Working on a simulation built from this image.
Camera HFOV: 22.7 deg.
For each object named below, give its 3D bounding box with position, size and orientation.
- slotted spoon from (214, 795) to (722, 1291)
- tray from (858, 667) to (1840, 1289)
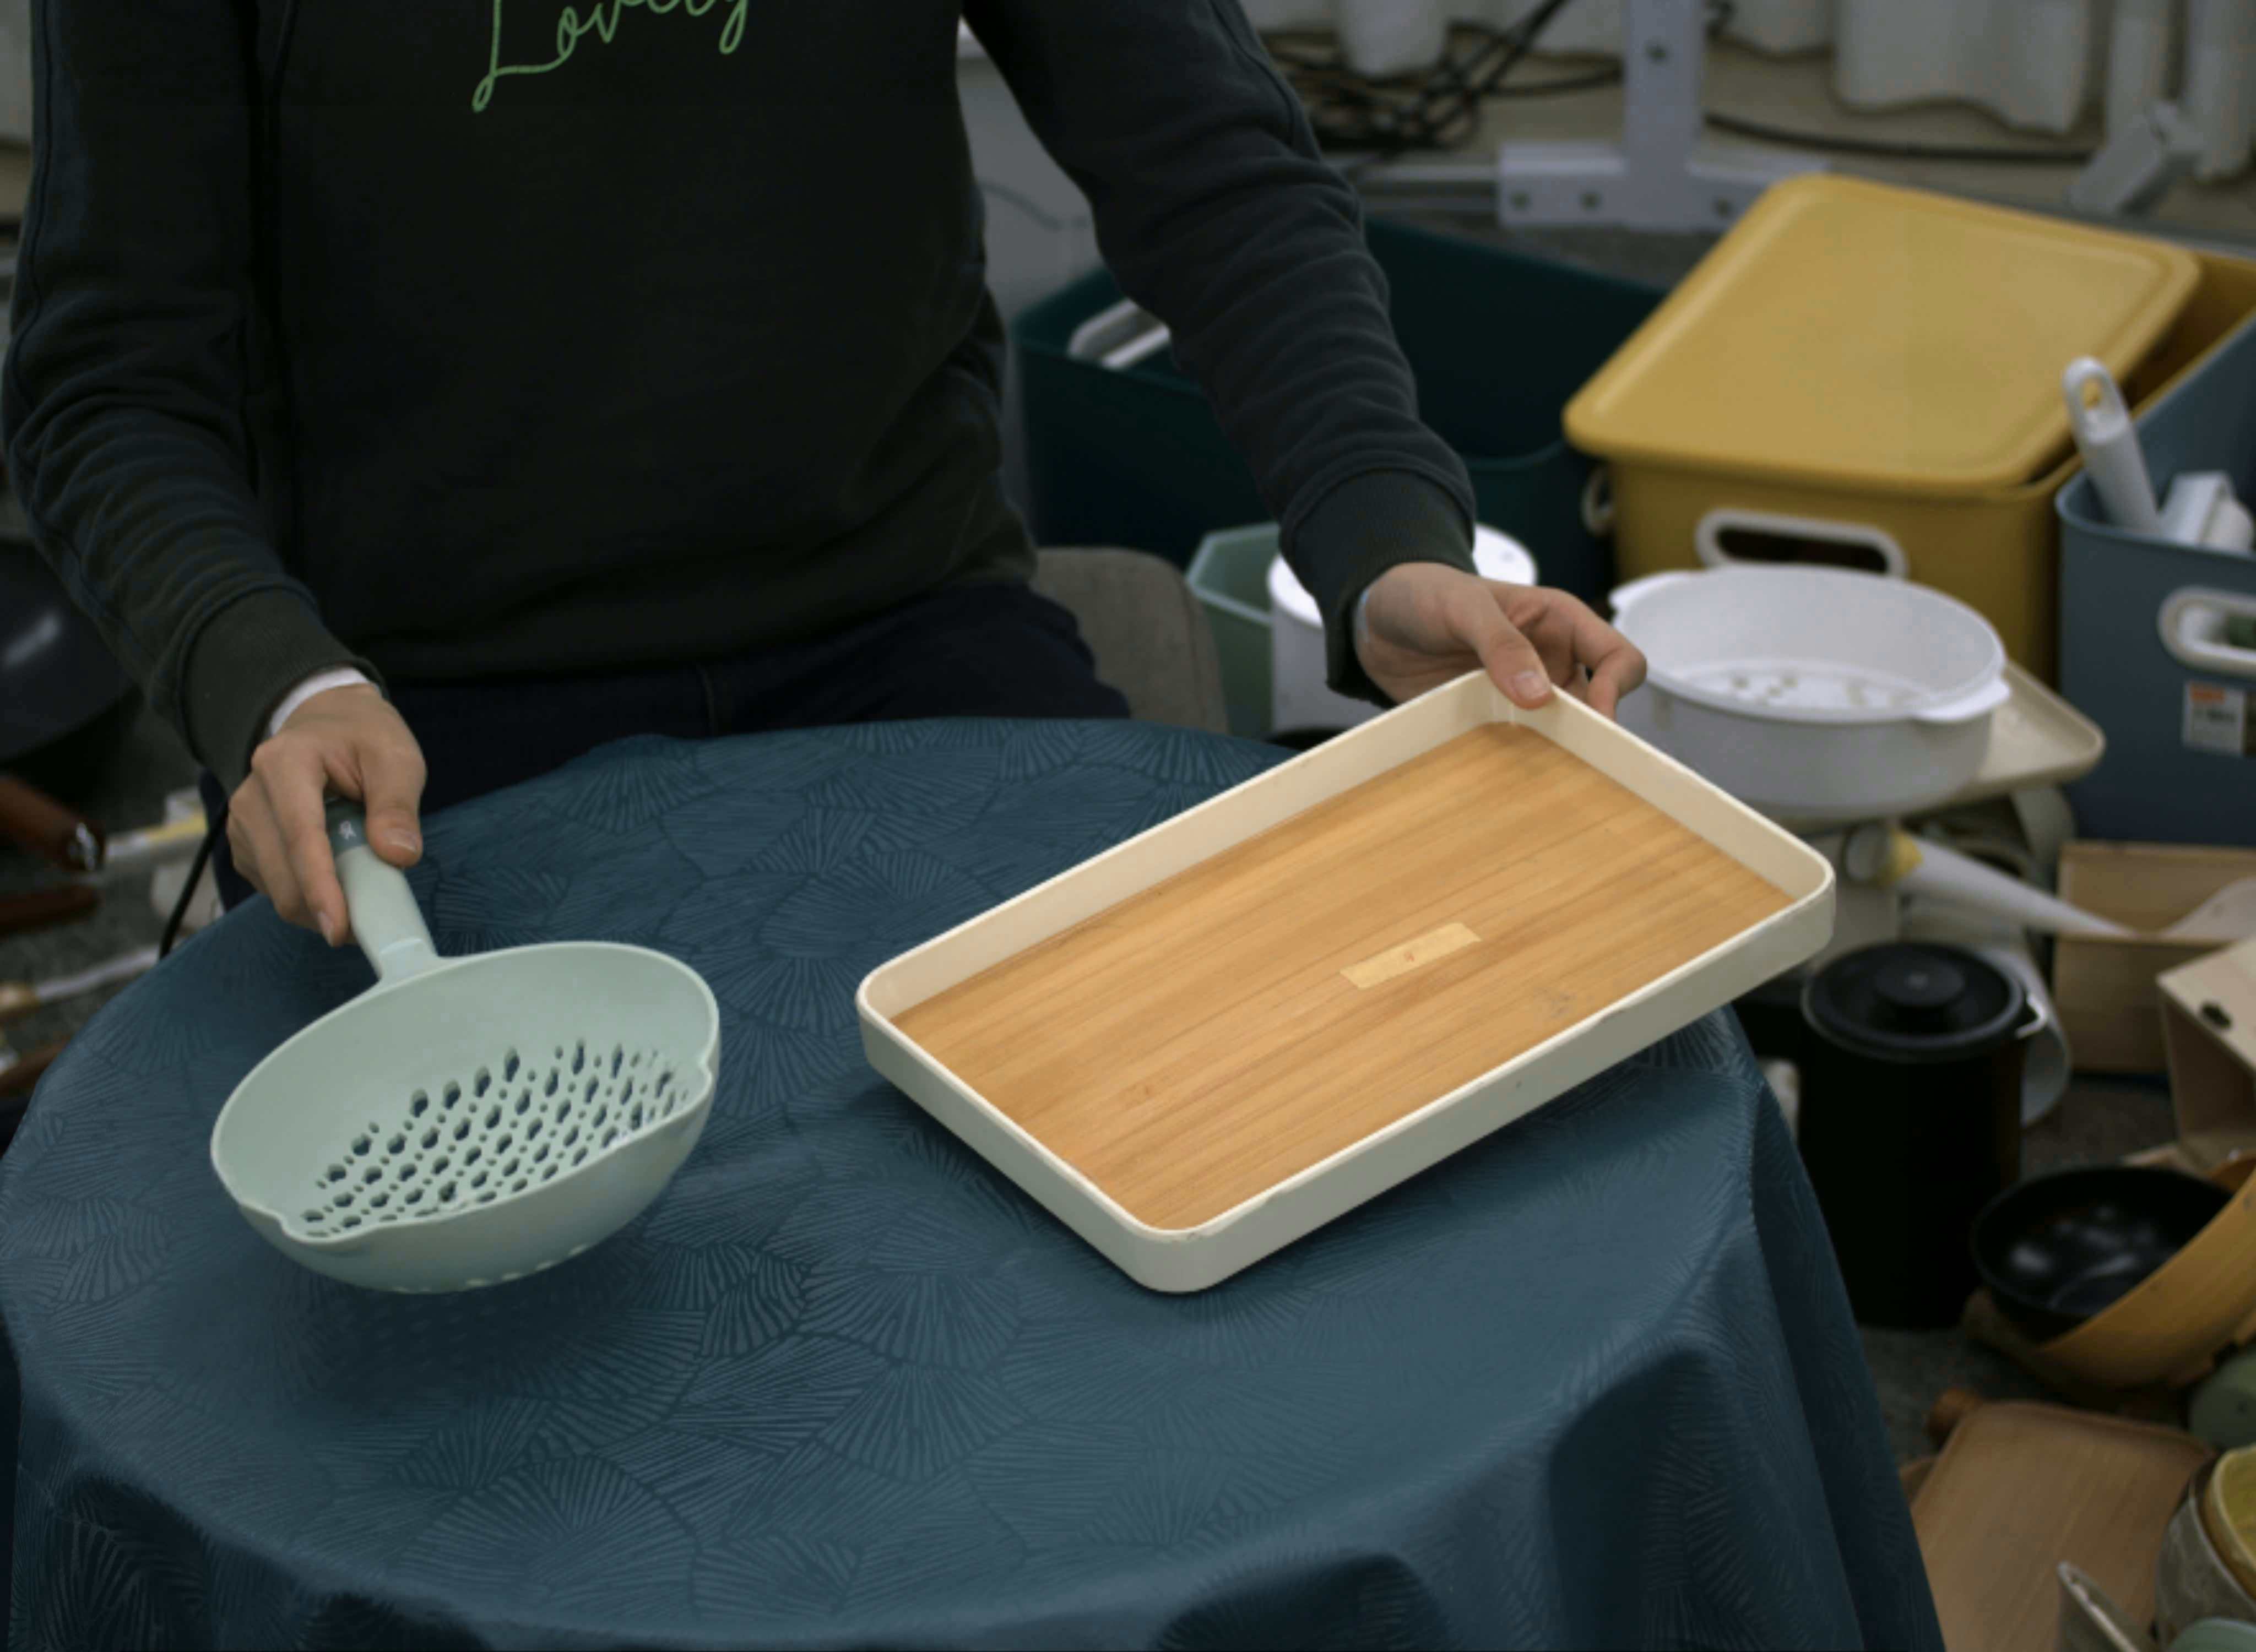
[{"bbox_3d":[-0.237,0.055,1.888,0.169,0.074,0.362,-19,34,-10],"label":"slotted spoon"},{"bbox_3d":[0.076,0.046,1.923,0.303,0.027,0.192,-26,39,-28],"label":"tray"}]
